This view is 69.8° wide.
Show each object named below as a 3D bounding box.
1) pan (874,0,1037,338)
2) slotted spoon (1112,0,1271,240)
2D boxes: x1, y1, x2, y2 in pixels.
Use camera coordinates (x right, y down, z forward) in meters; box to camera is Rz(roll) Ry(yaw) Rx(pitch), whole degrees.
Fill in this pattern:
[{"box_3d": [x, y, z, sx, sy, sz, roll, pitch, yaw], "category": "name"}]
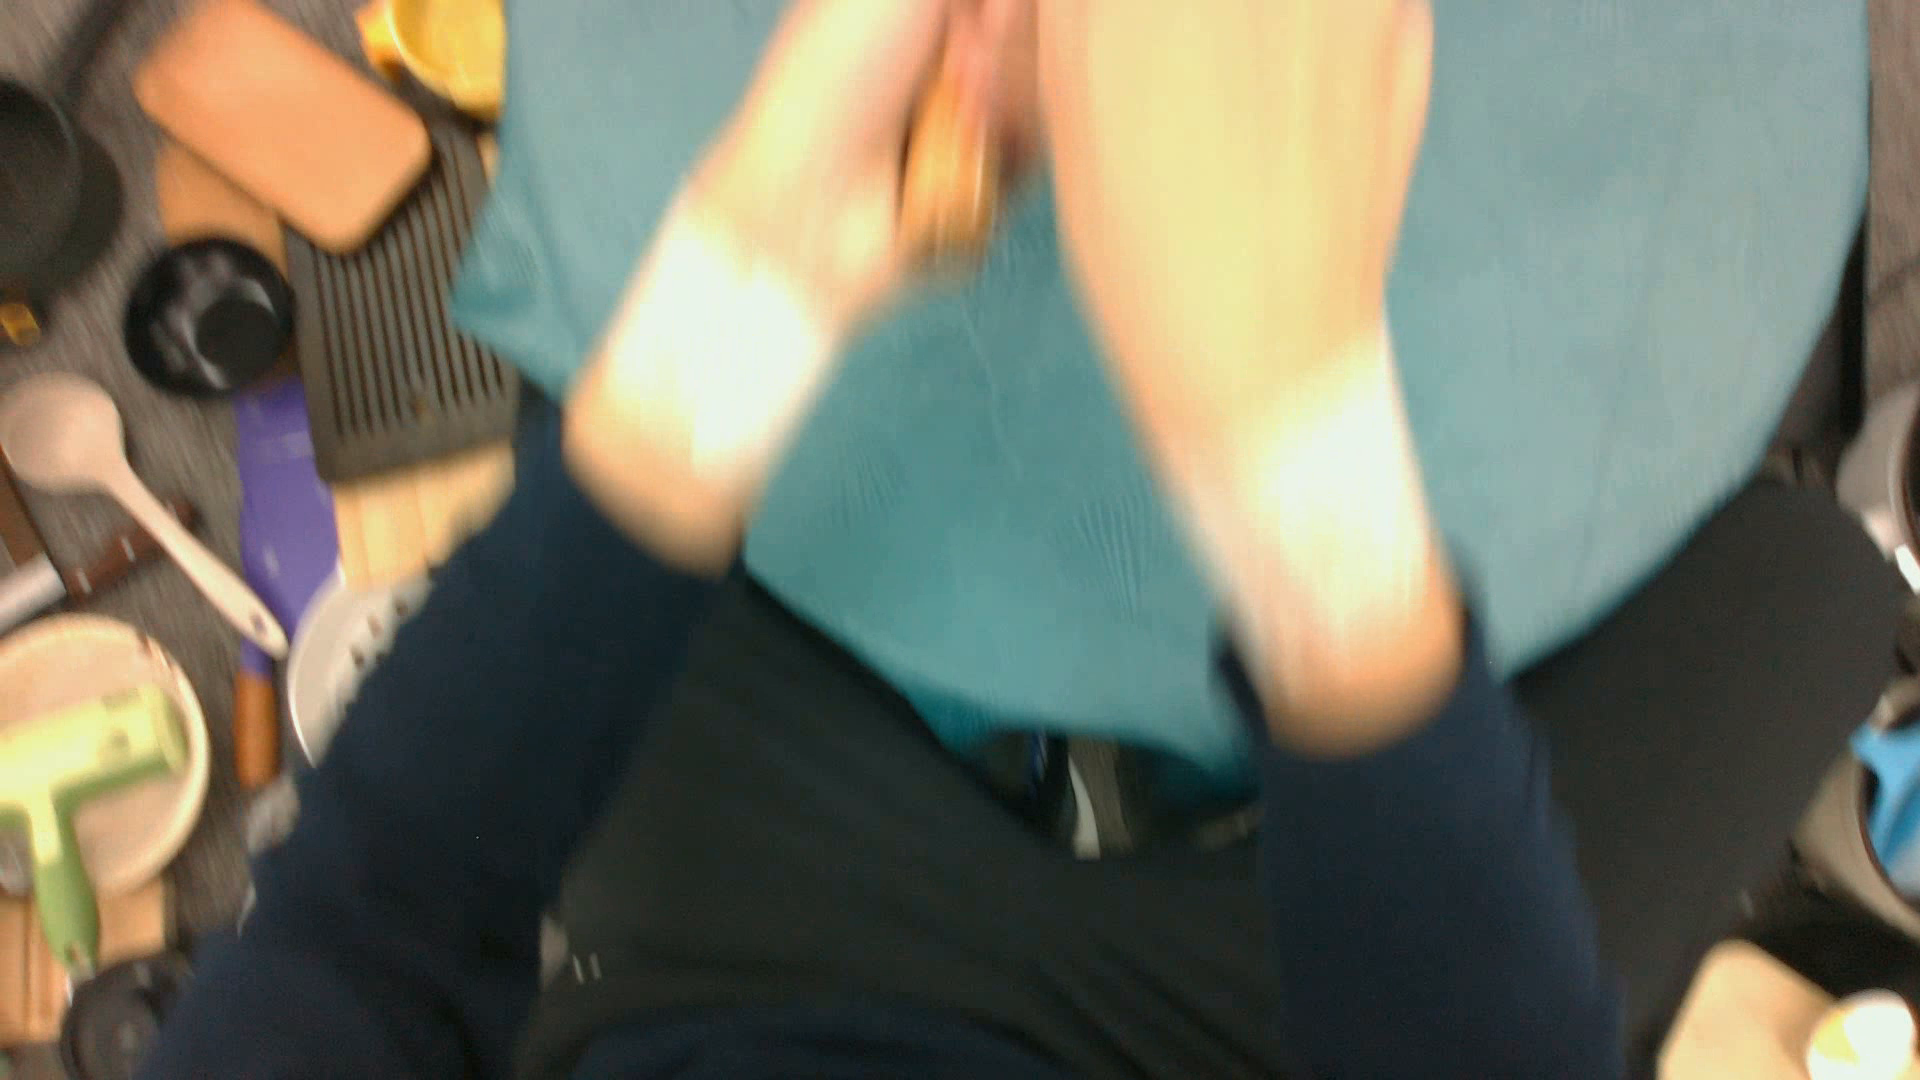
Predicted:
[{"box_3d": [0.006, -0.209, 0.464, 0.207, 0.108, 0.343, -3, 72, 11], "category": "pan"}, {"box_3d": [0.024, -0.214, 0.436, 0.137, 0.050, 0.349, -3, 46, -18], "category": "slotted spoon"}]
